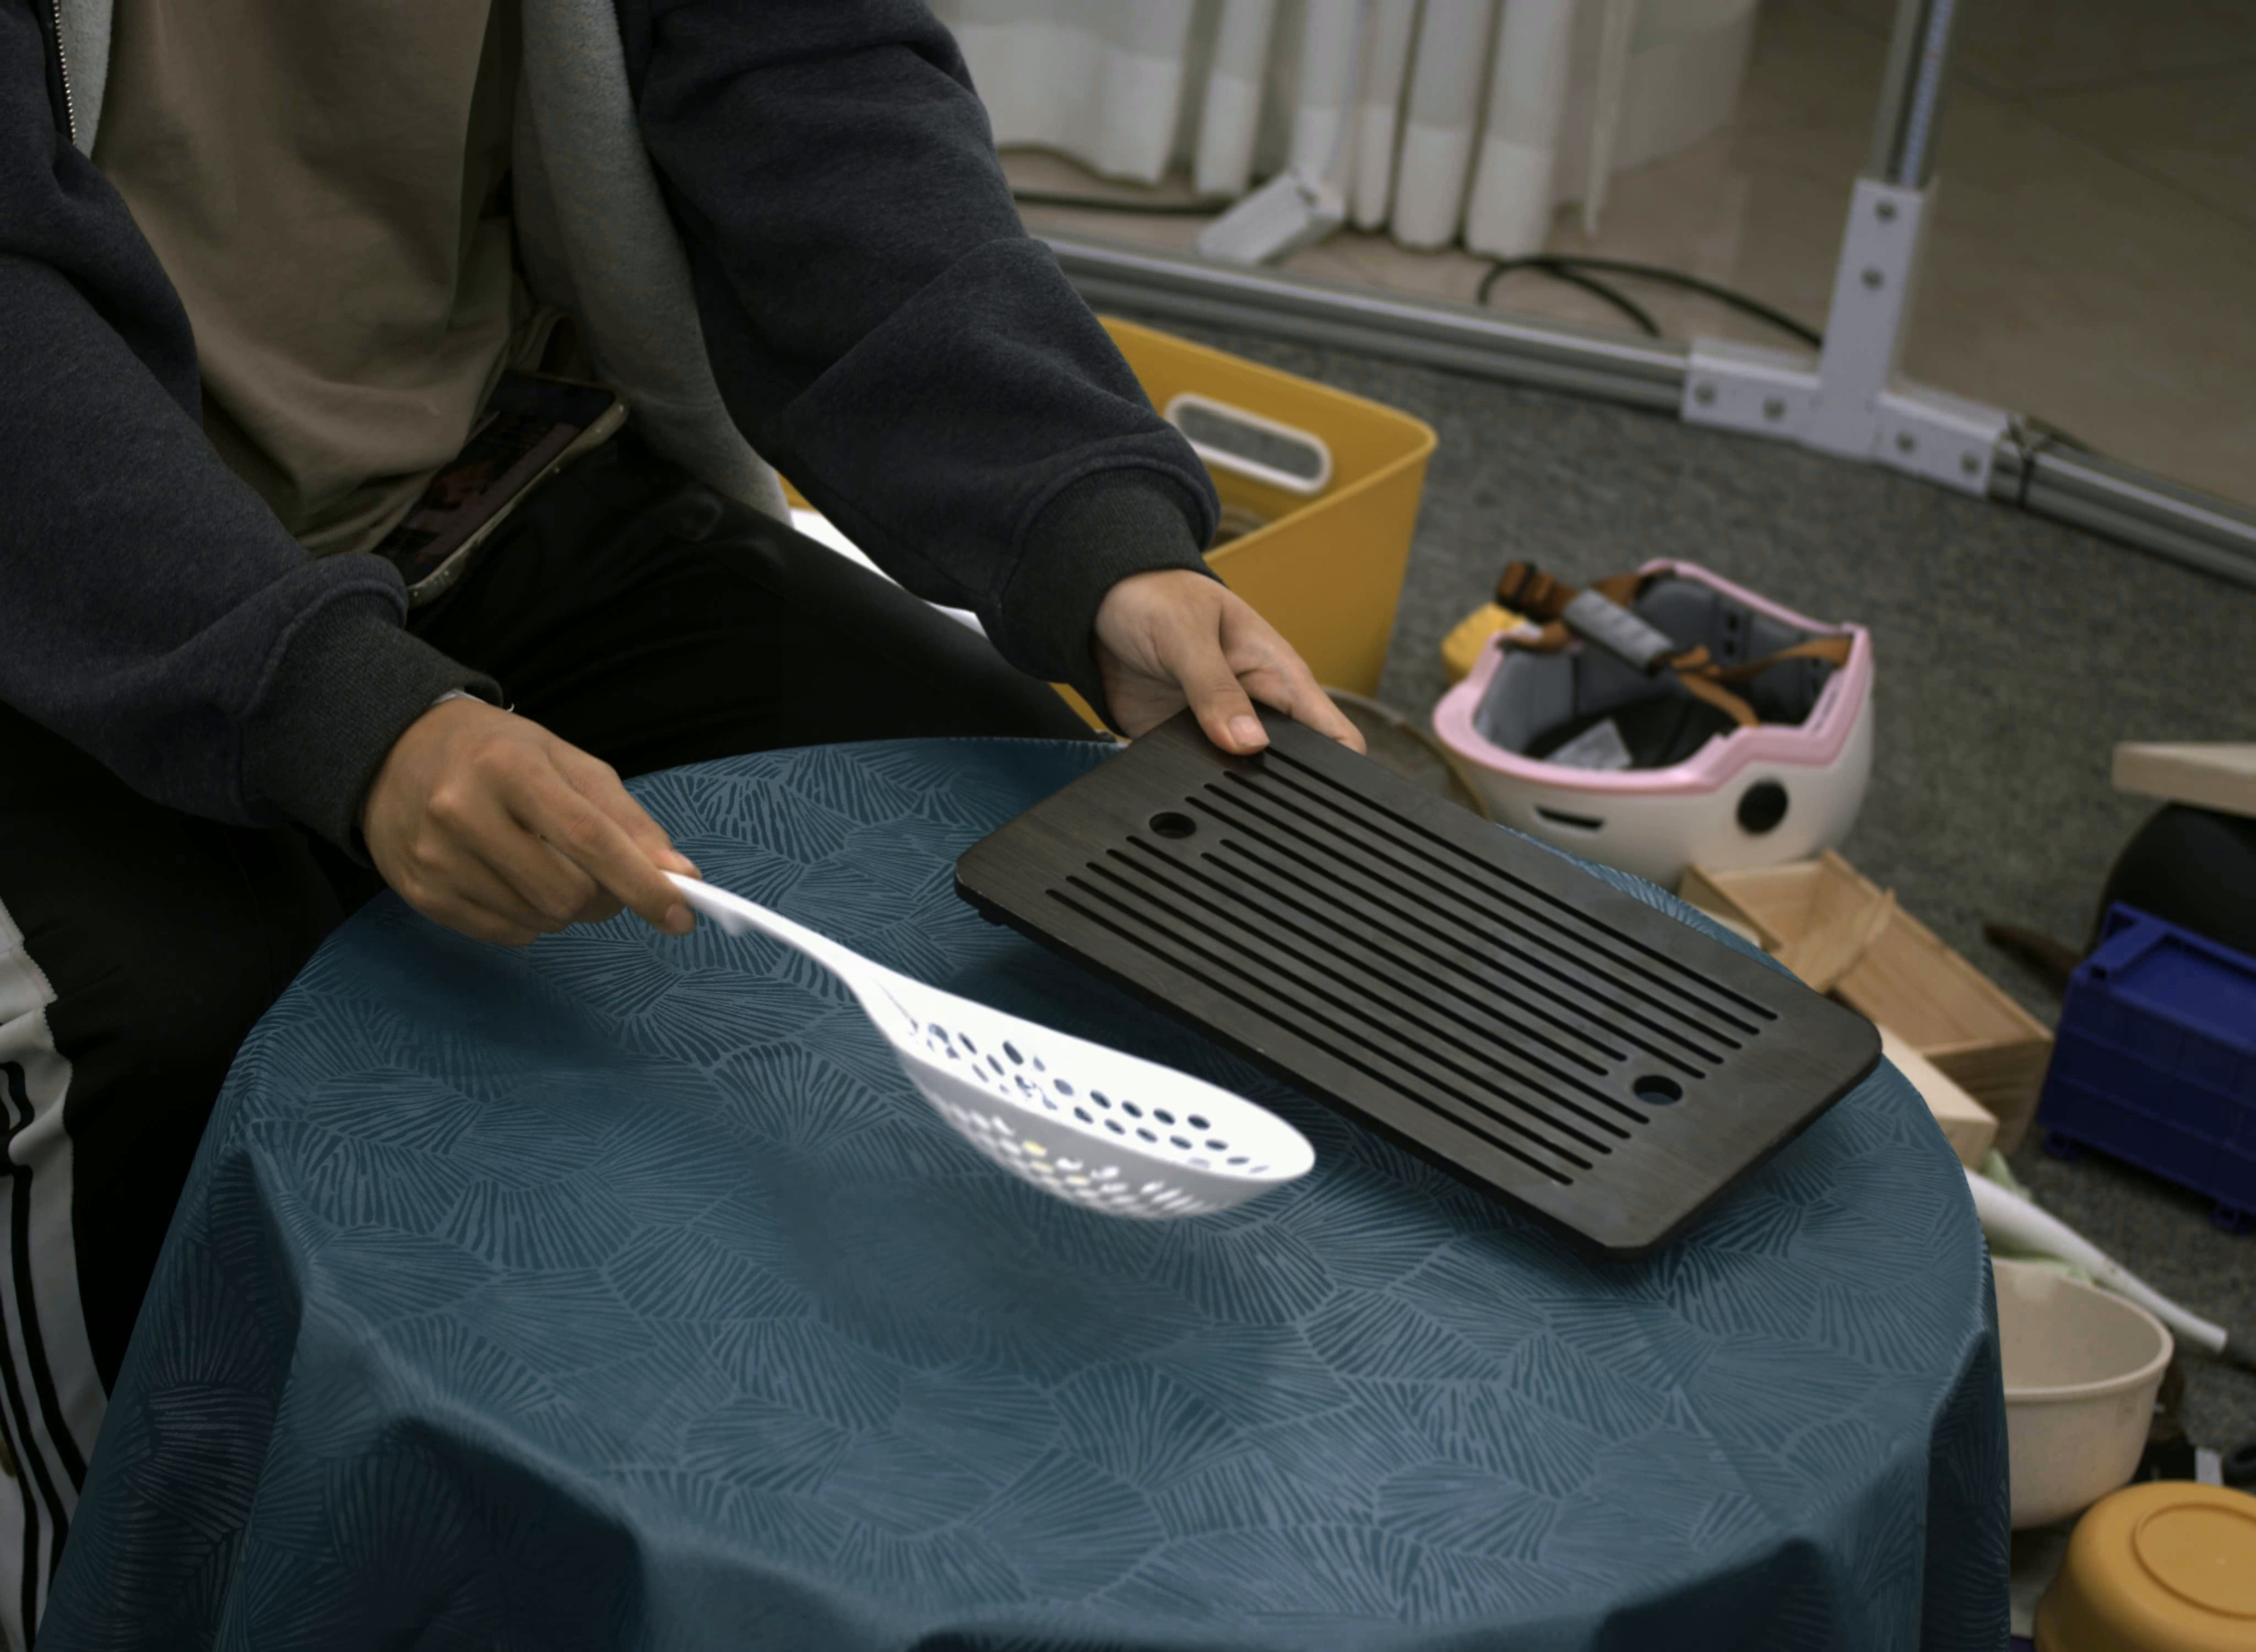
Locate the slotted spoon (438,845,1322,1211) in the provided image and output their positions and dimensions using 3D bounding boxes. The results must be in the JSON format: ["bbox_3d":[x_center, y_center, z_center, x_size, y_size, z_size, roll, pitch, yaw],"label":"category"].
[{"bbox_3d":[-0.093,0.057,1.784,0.350,0.050,0.136,28,14,30],"label":"slotted spoon"}]

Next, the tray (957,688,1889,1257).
[{"bbox_3d":[0.103,0.049,1.894,0.308,0.018,0.170,29,41,29],"label":"tray"}]
